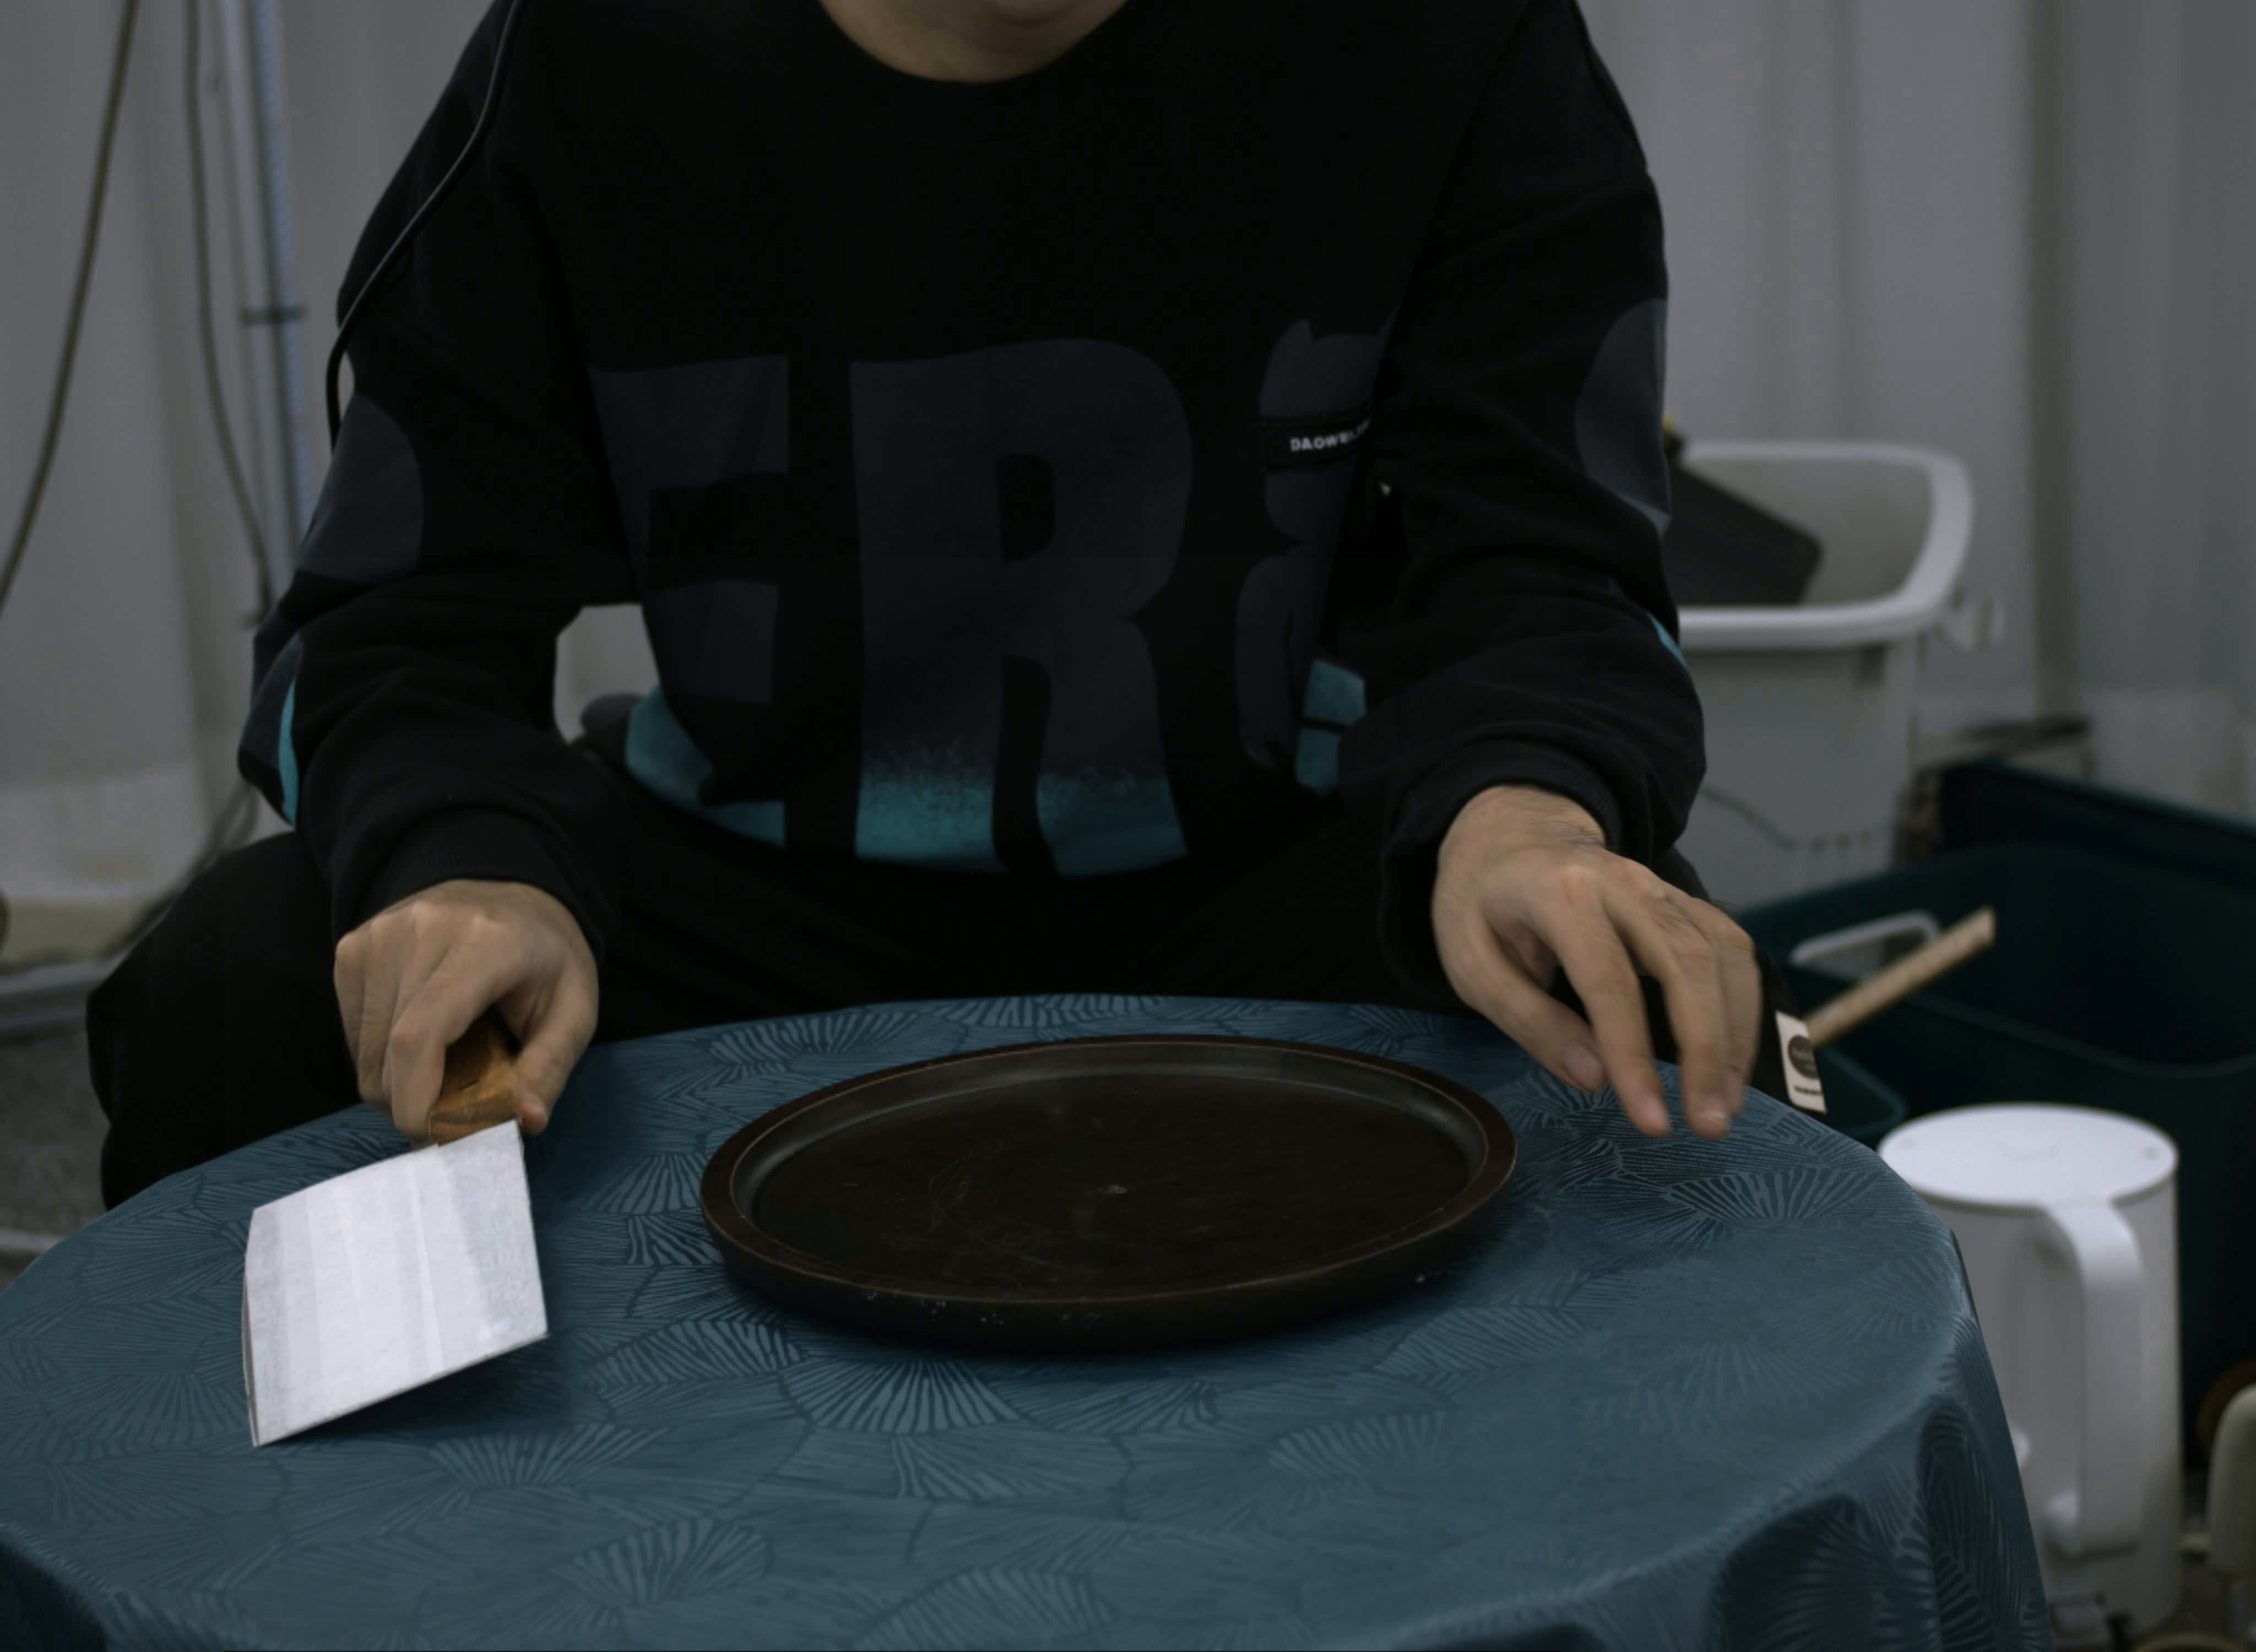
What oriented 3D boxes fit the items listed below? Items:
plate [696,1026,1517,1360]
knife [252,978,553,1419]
[{"bbox_3d":[-0.006,0.112,1.680,0.254,0.029,0.256,-4,16,1],"label":"plate"},{"bbox_3d":[-0.226,0.114,1.686,0.093,0.021,0.308,-22,19,-2],"label":"knife"}]
